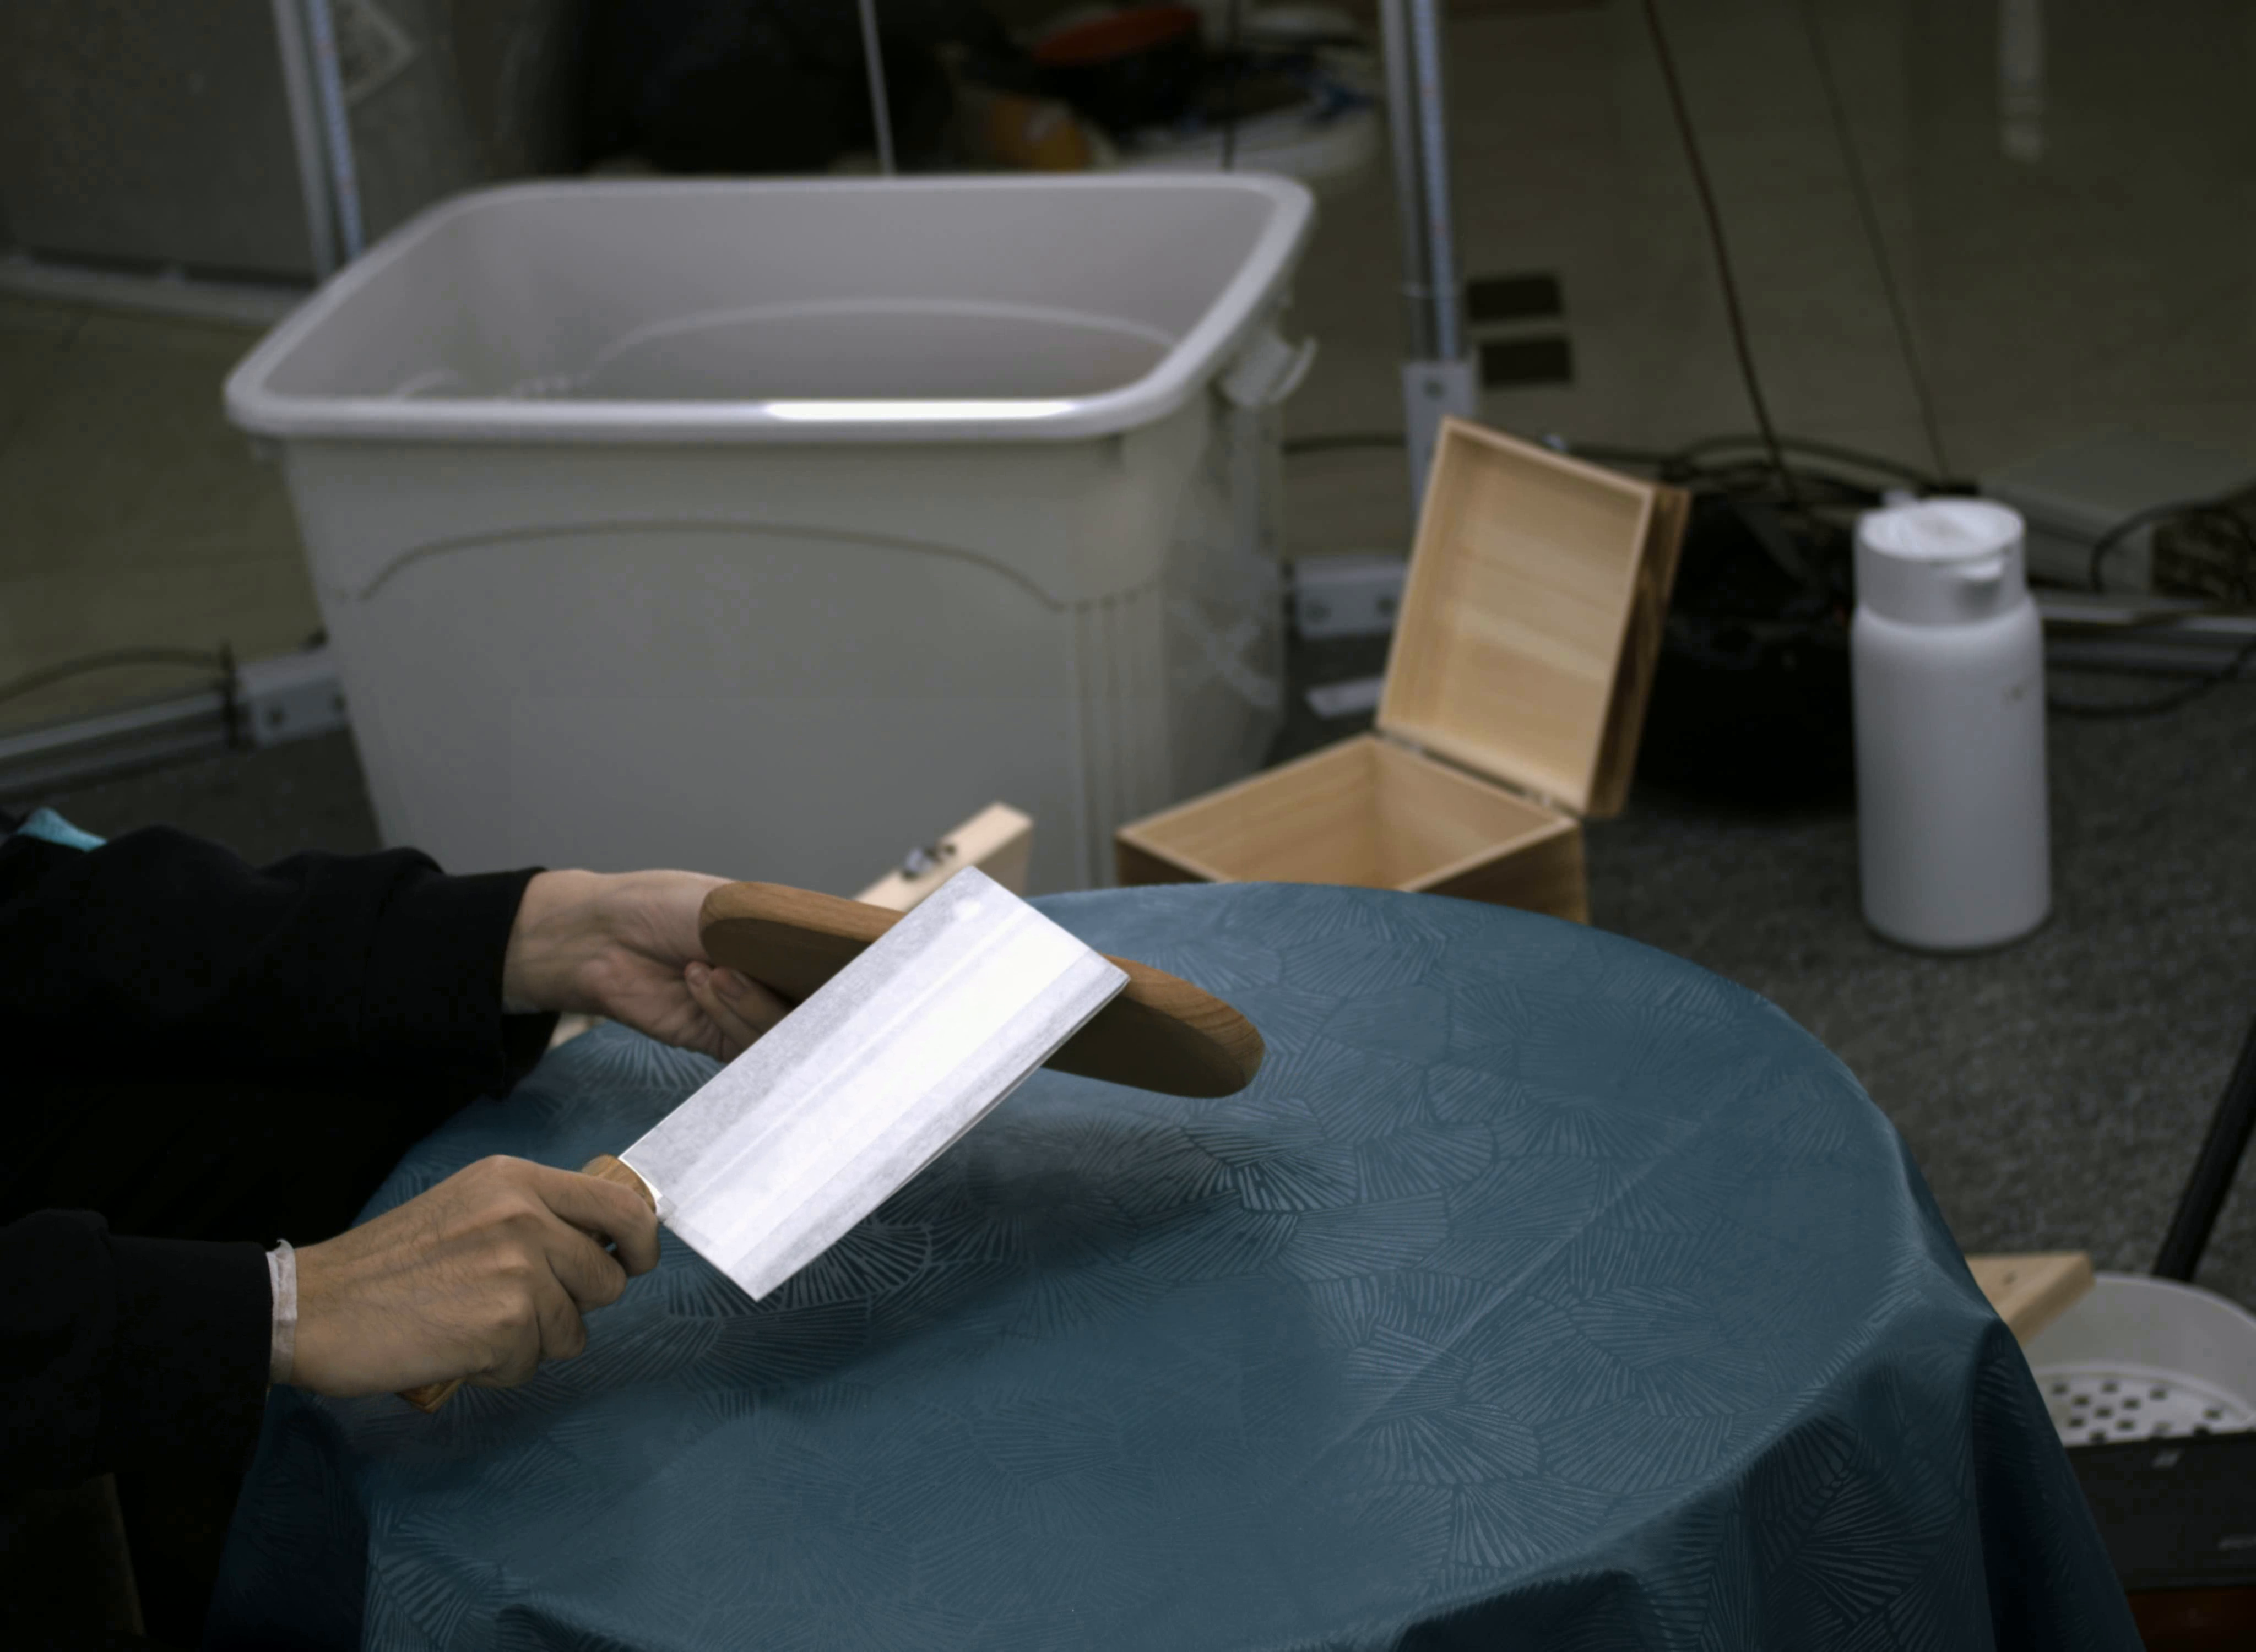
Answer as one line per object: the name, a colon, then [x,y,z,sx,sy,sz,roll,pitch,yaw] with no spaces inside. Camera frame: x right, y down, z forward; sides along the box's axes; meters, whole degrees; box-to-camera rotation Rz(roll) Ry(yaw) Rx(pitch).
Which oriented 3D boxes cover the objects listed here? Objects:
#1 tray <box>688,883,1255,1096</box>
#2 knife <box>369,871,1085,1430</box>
tray: [-0.062,0.063,2.159,0.230,0.103,0.020,10,66,19]
knife: [-0.138,0.126,2.055,0.303,0.021,0.092,-40,56,-21]
